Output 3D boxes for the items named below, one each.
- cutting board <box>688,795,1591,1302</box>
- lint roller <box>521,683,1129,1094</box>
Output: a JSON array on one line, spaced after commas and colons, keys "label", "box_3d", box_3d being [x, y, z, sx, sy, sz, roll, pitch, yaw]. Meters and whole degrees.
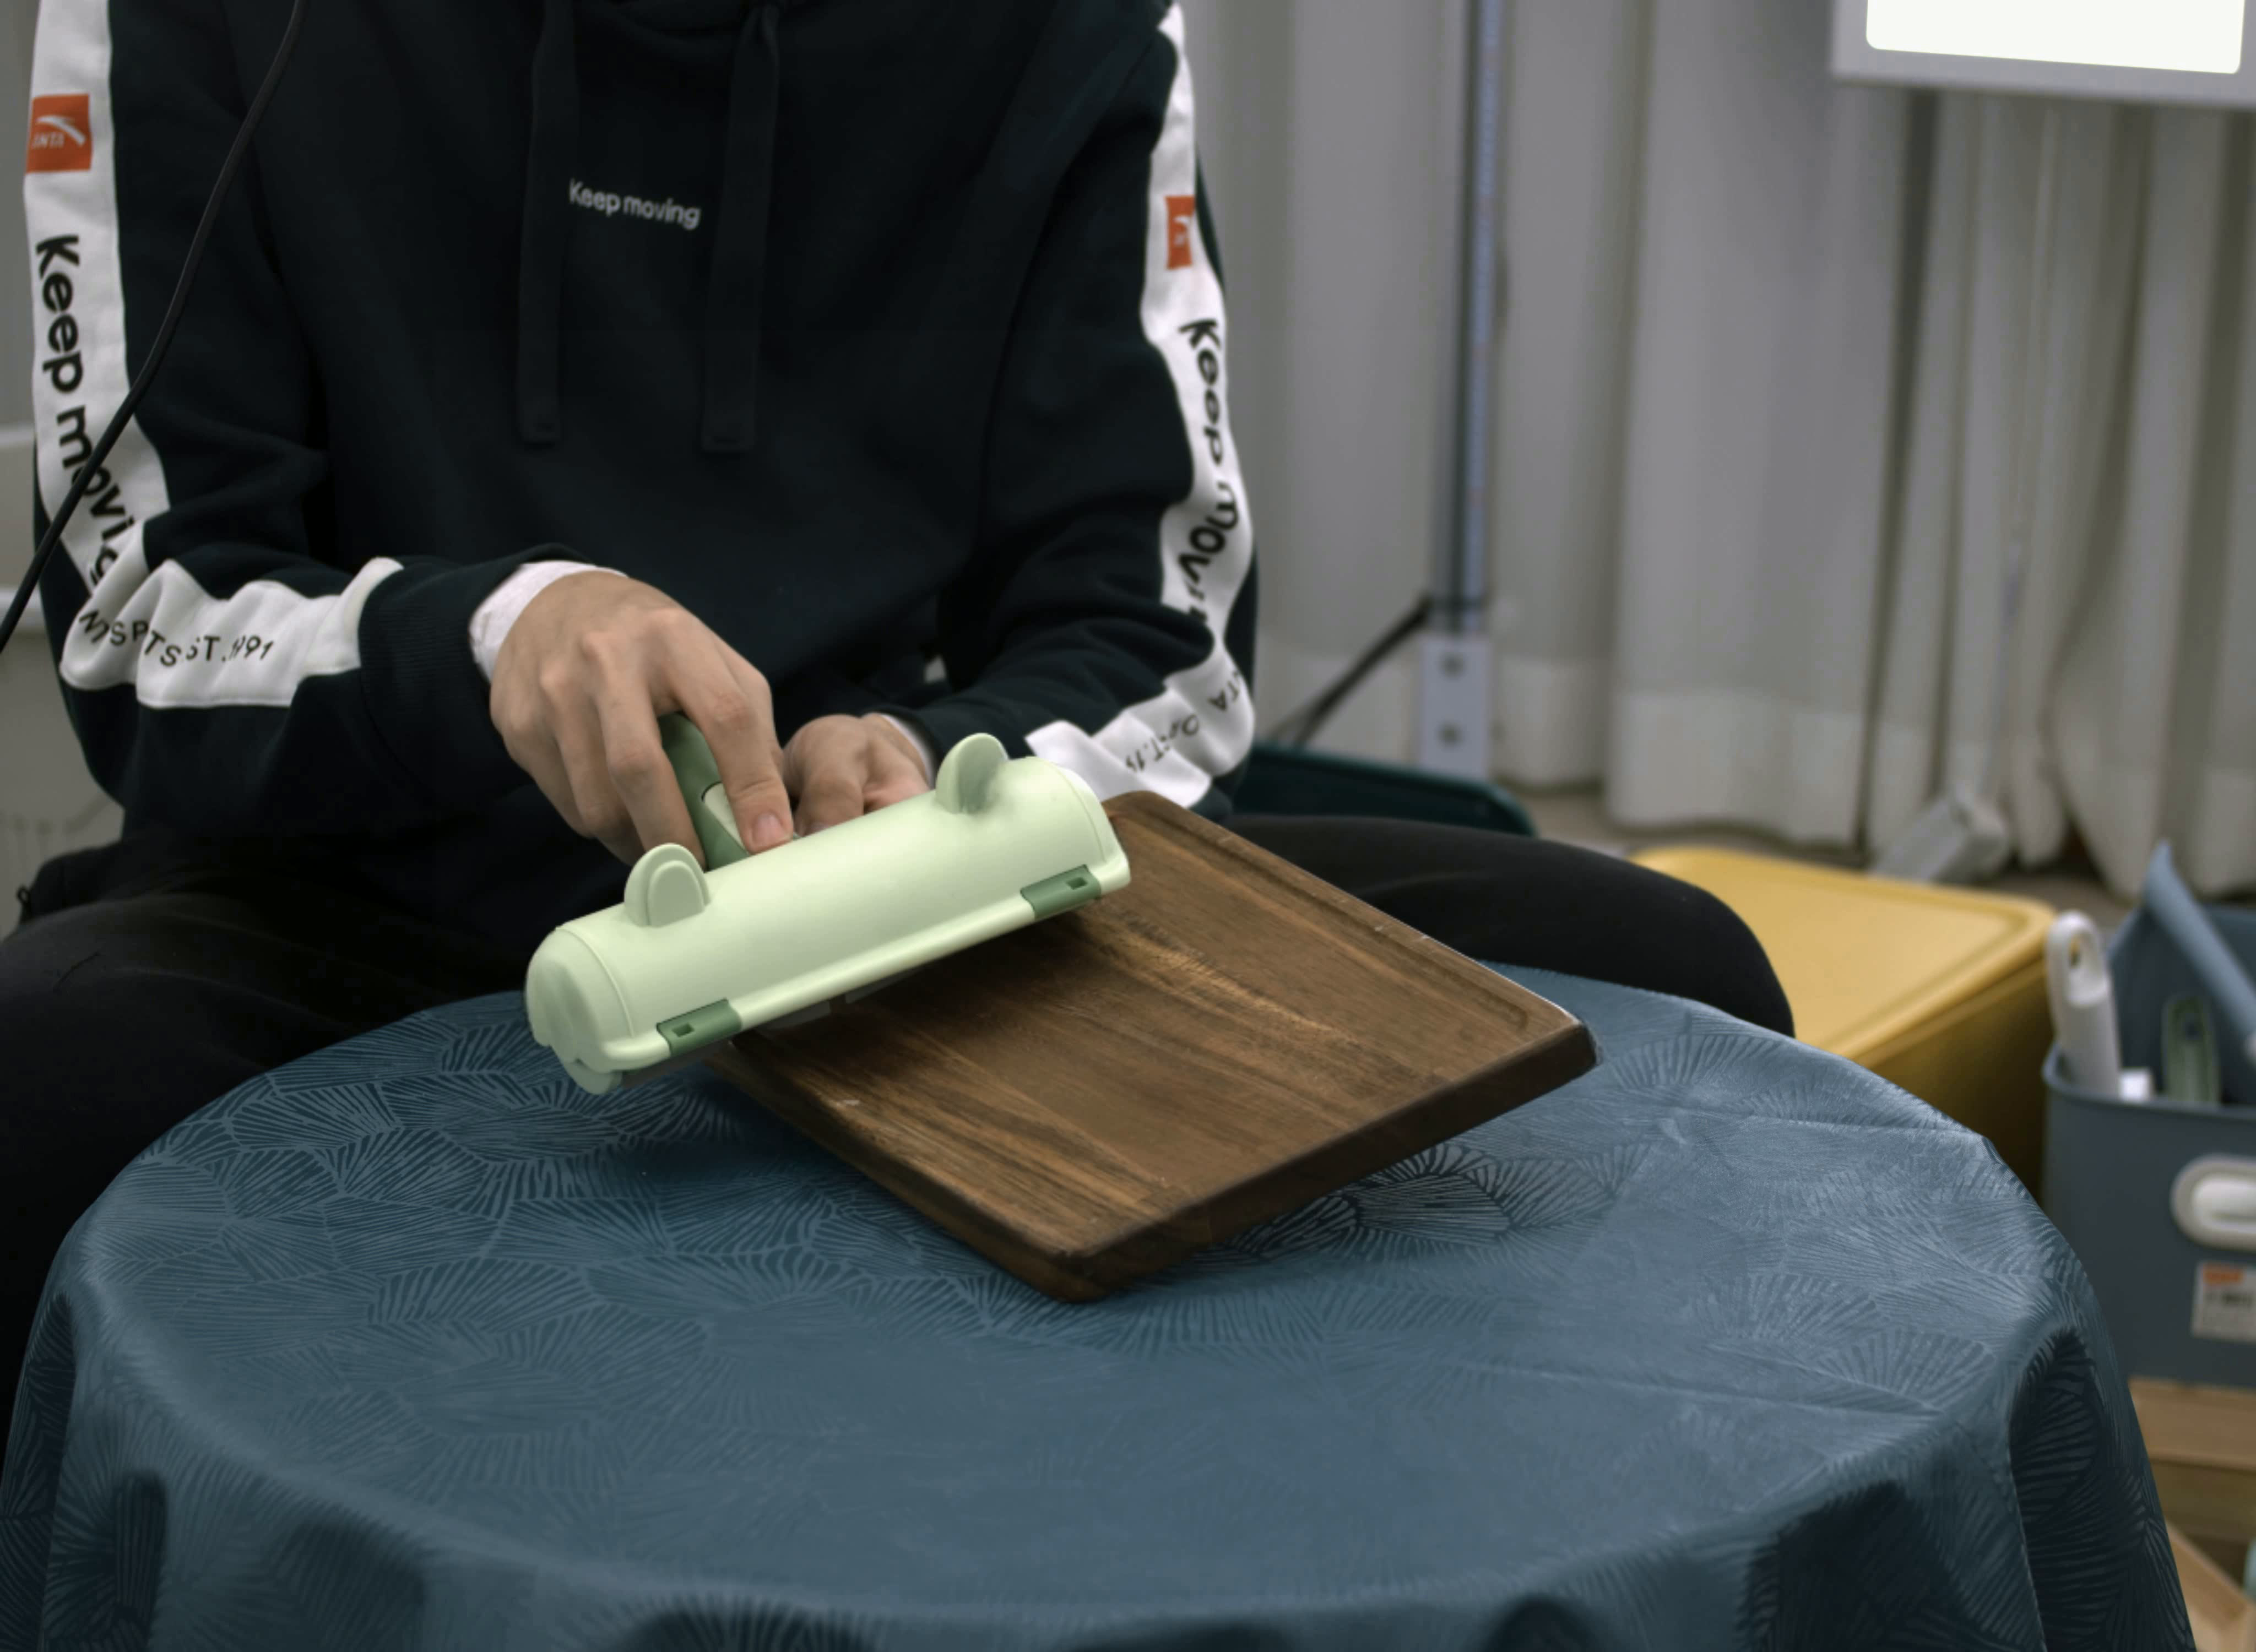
[{"label": "cutting board", "box_3d": [-0.032, 0.049, 1.694, 0.201, 0.023, 0.347, -23, 29, -28]}, {"label": "lint roller", "box_3d": [-0.126, -0.009, 1.692, 0.199, 0.083, 0.181, -21, 52, -30]}]
